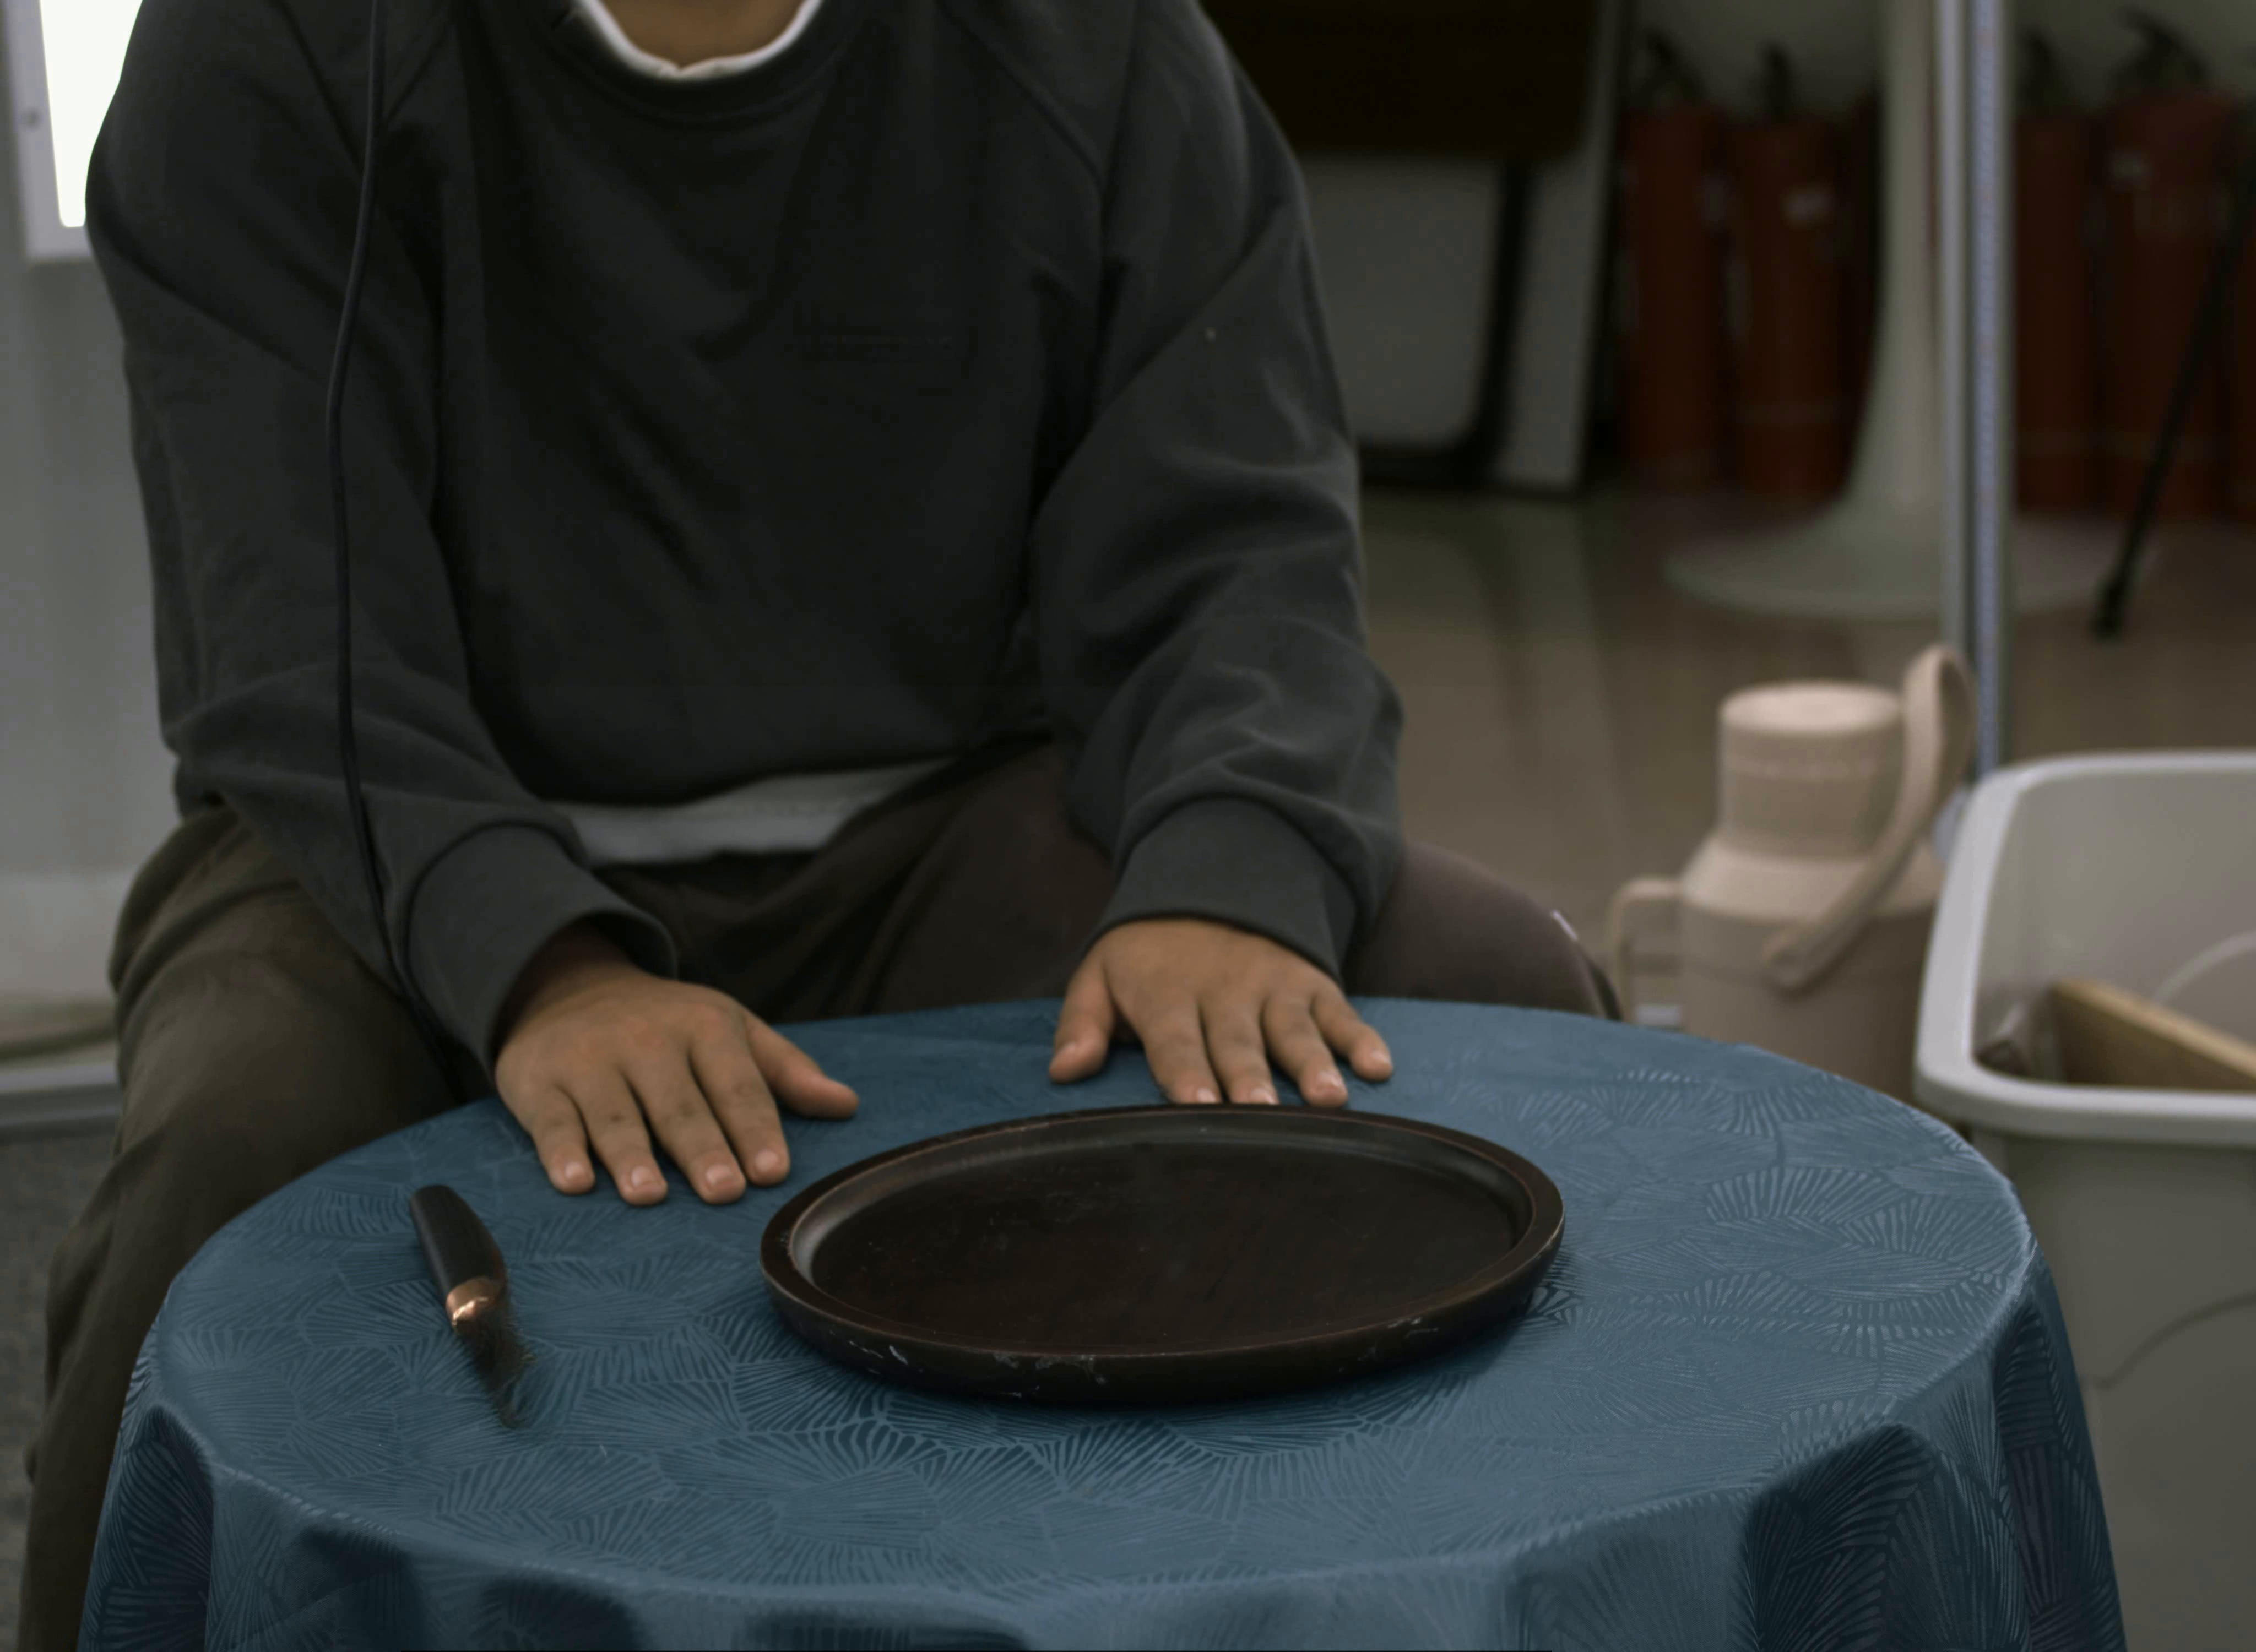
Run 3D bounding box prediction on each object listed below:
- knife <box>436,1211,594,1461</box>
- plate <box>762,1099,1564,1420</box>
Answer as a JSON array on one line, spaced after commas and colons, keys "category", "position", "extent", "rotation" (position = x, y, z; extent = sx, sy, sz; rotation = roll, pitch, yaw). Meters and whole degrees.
[{"category": "knife", "position": [-0.190, 0.157, 1.665], "extent": [0.026, 0.017, 0.227], "rotation": [-2, 14, -14]}, {"category": "plate", "position": [0.011, 0.133, 1.678], "extent": [0.251, 0.029, 0.255], "rotation": [-6, 13, 0]}]
